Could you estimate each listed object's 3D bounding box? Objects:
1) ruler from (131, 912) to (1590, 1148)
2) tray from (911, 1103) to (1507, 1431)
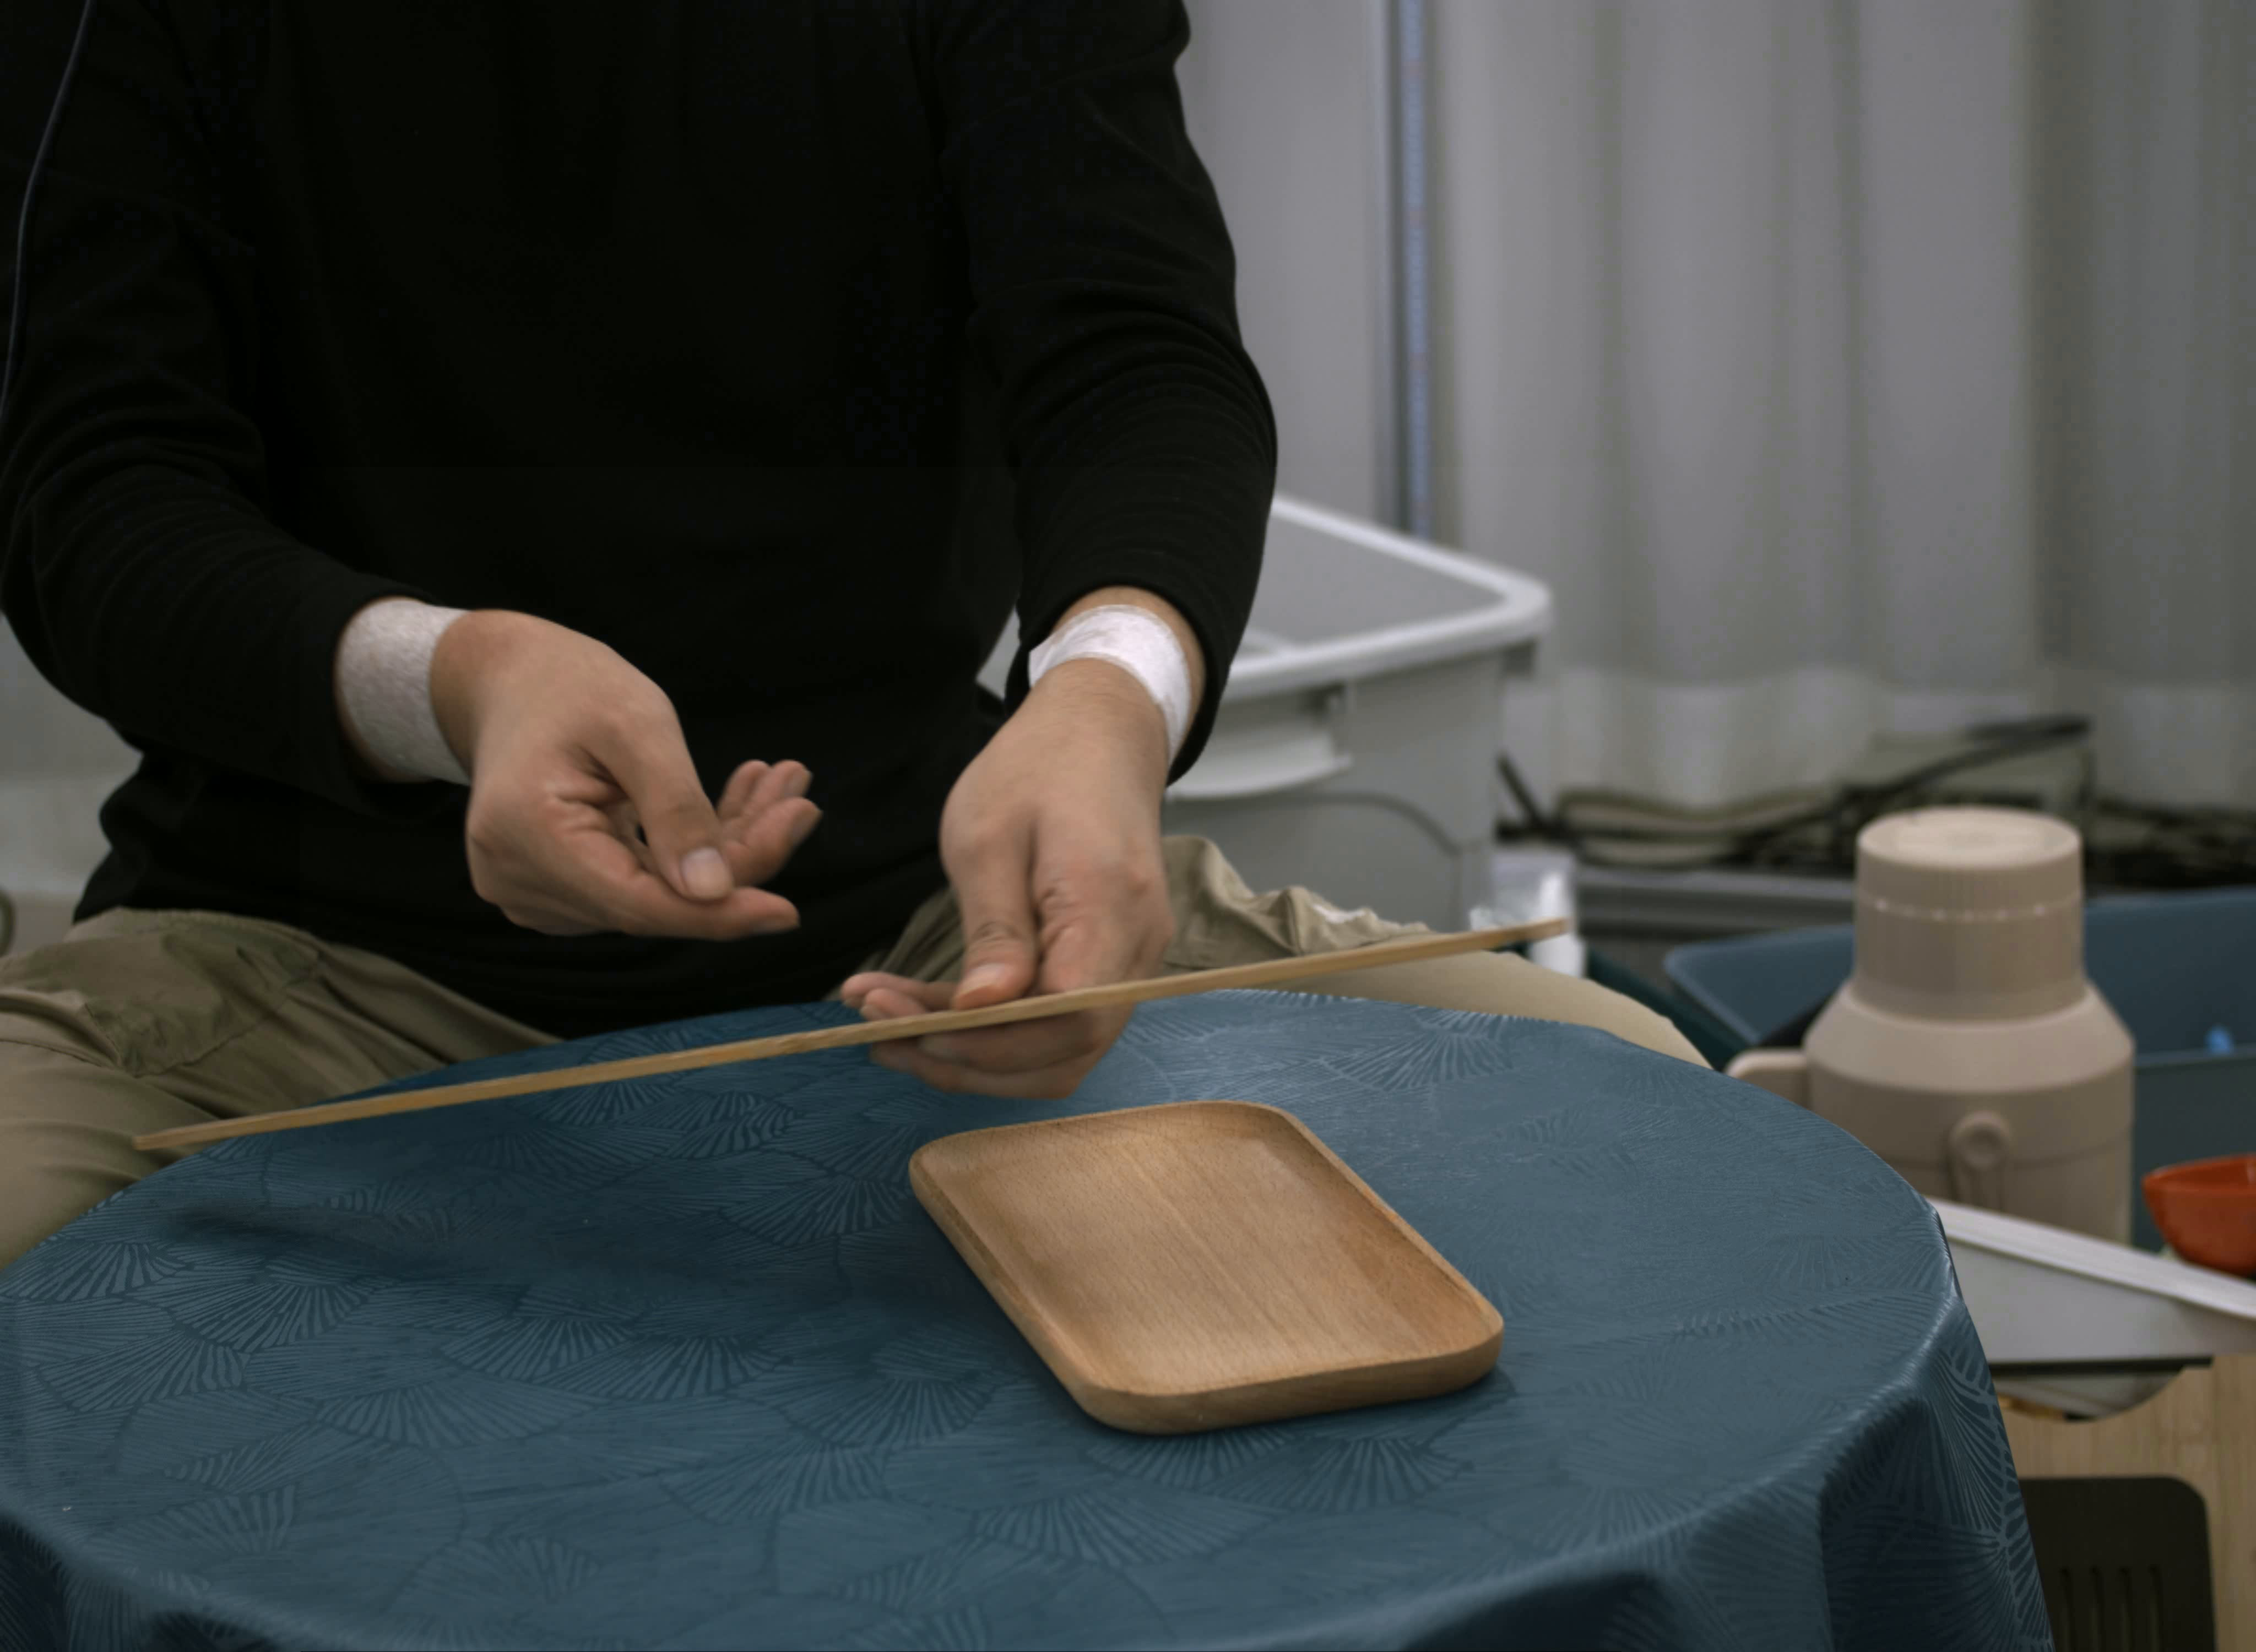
[{"bbox_3d":[-0.093,0.062,1.608,0.500,0.006,0.027,-10,-1,29],"label":"ruler"},{"bbox_3d":[0.020,0.129,1.628,0.130,0.023,0.252,-4,13,-14],"label":"tray"}]
